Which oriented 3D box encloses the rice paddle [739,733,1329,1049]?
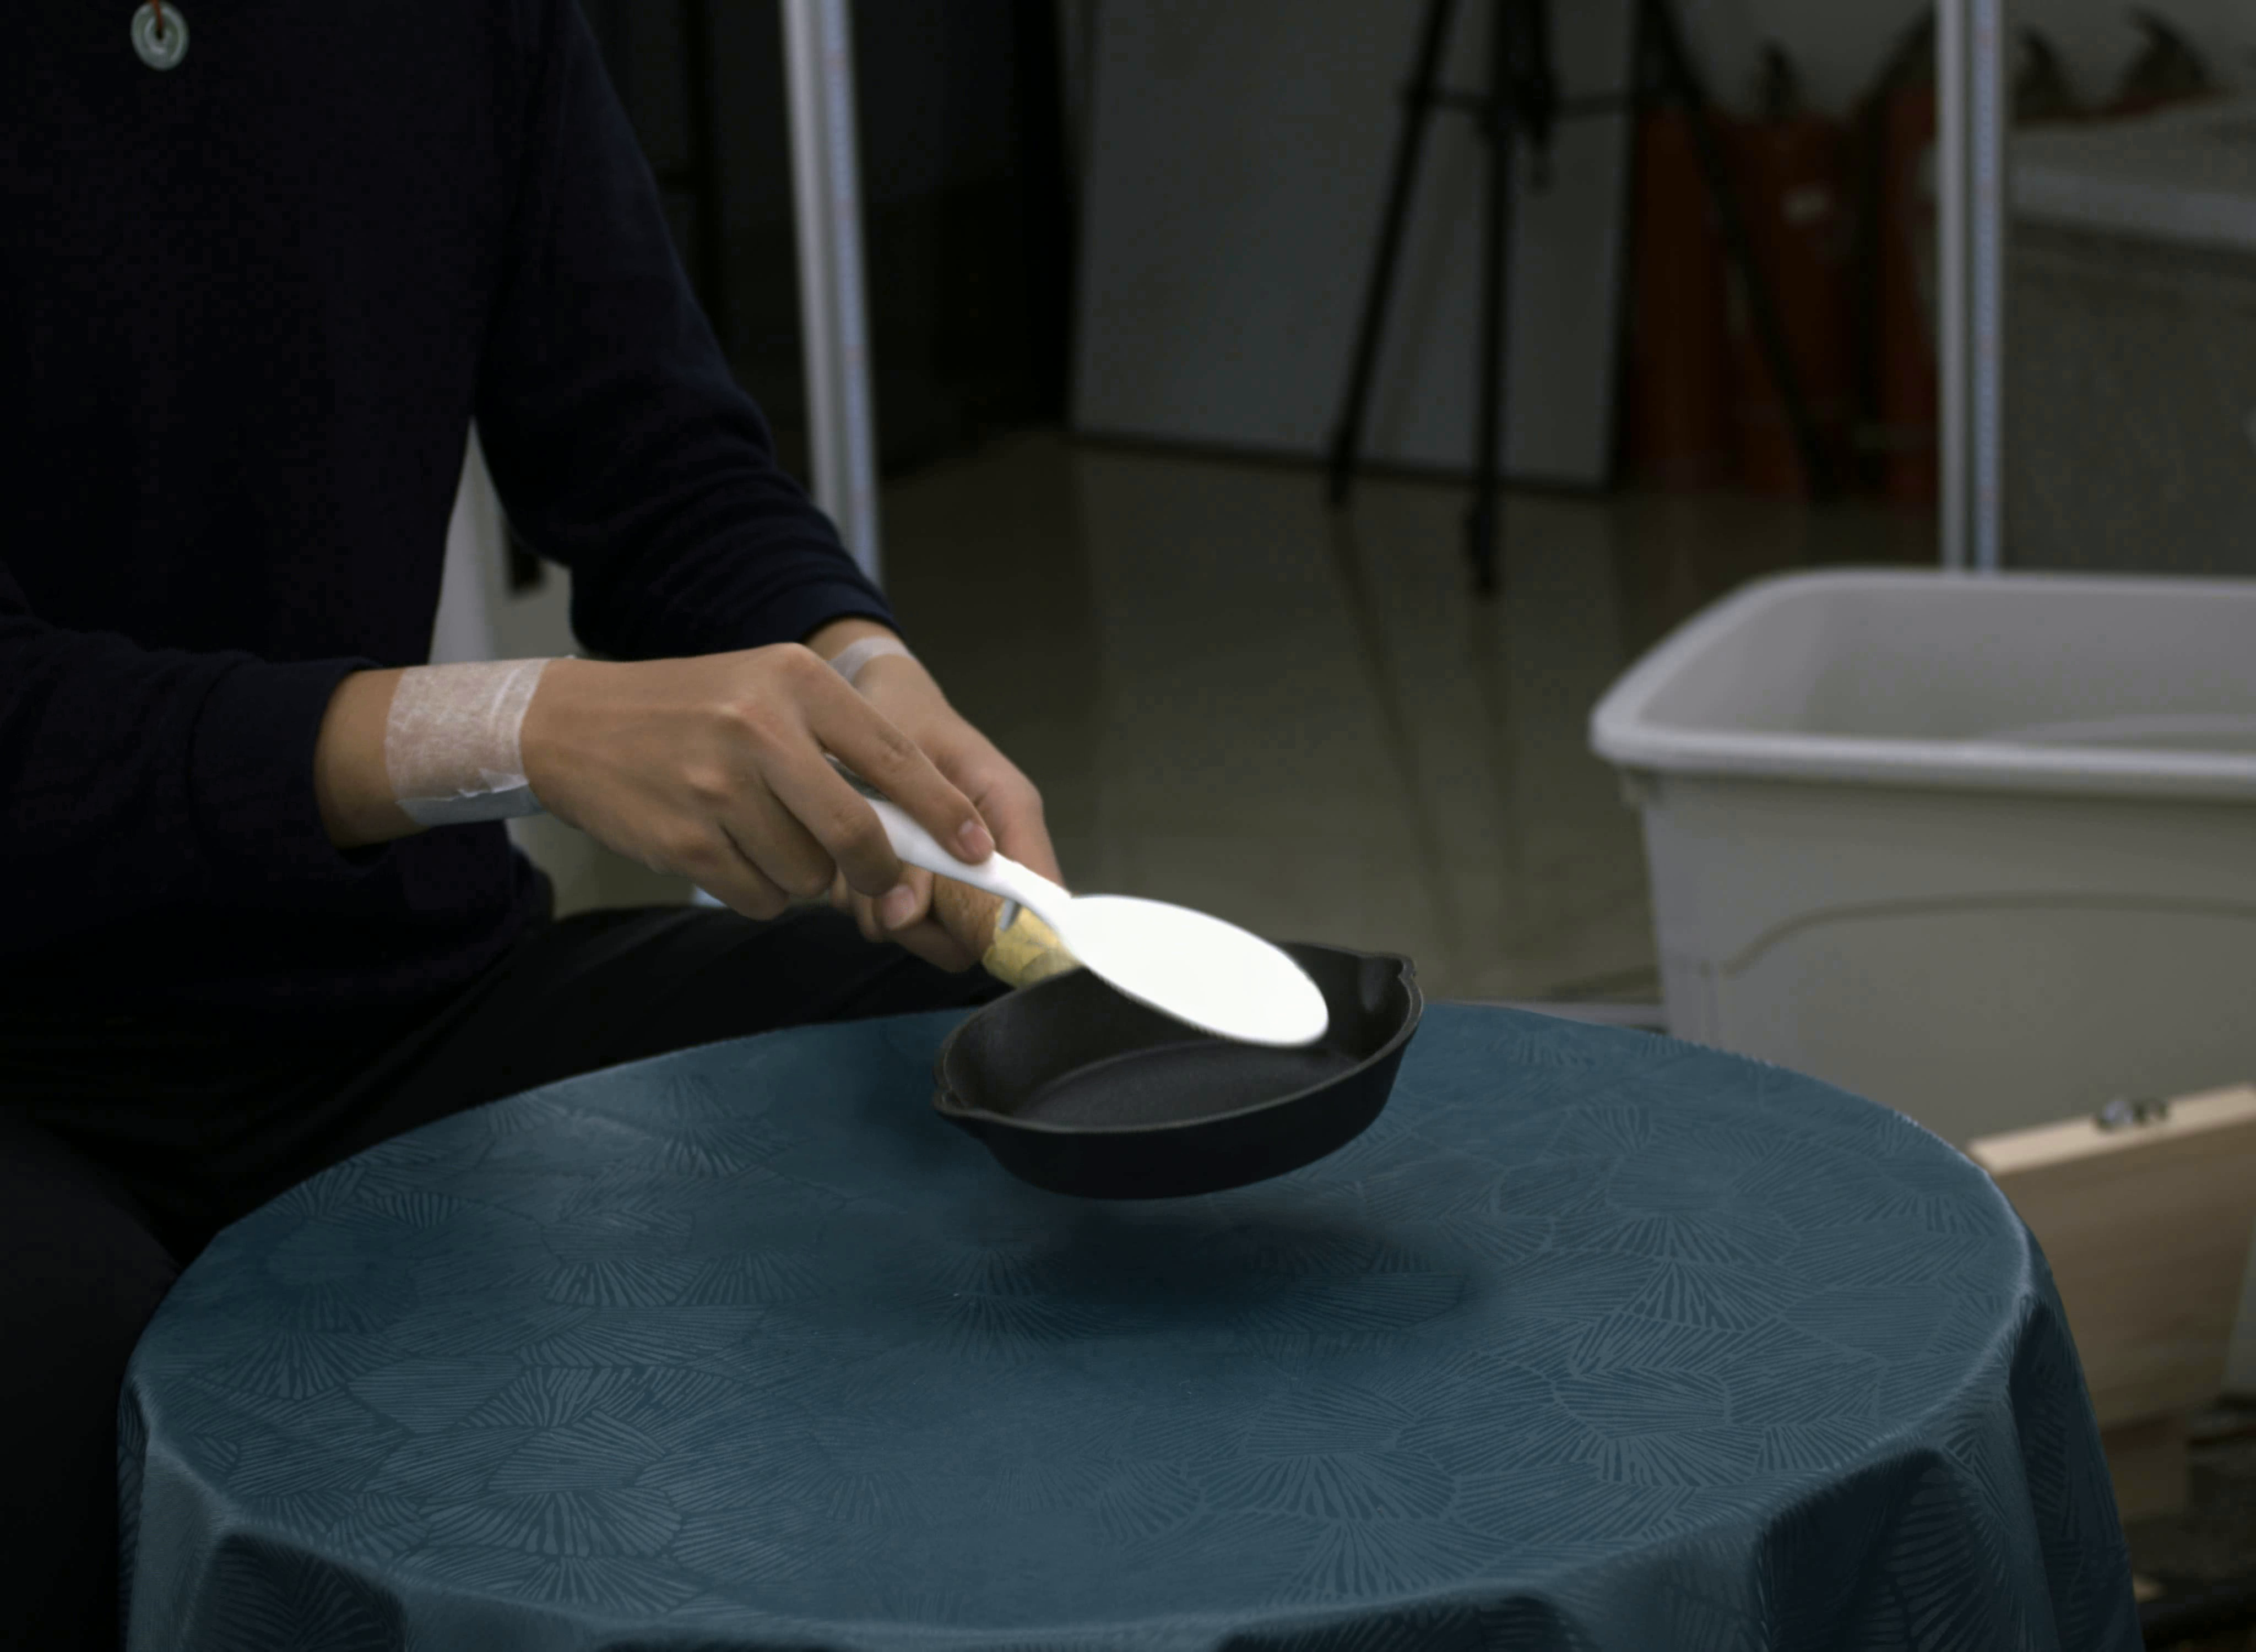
[{"bbox_3d":[-0.028,0.023,1.721,0.205,0.030,0.068,24,28,12],"label":"rice paddle"}]

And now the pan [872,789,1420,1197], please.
[{"bbox_3d":[-0.017,0.049,1.775,0.166,0.050,0.327,-16,20,-18],"label":"pan"}]
